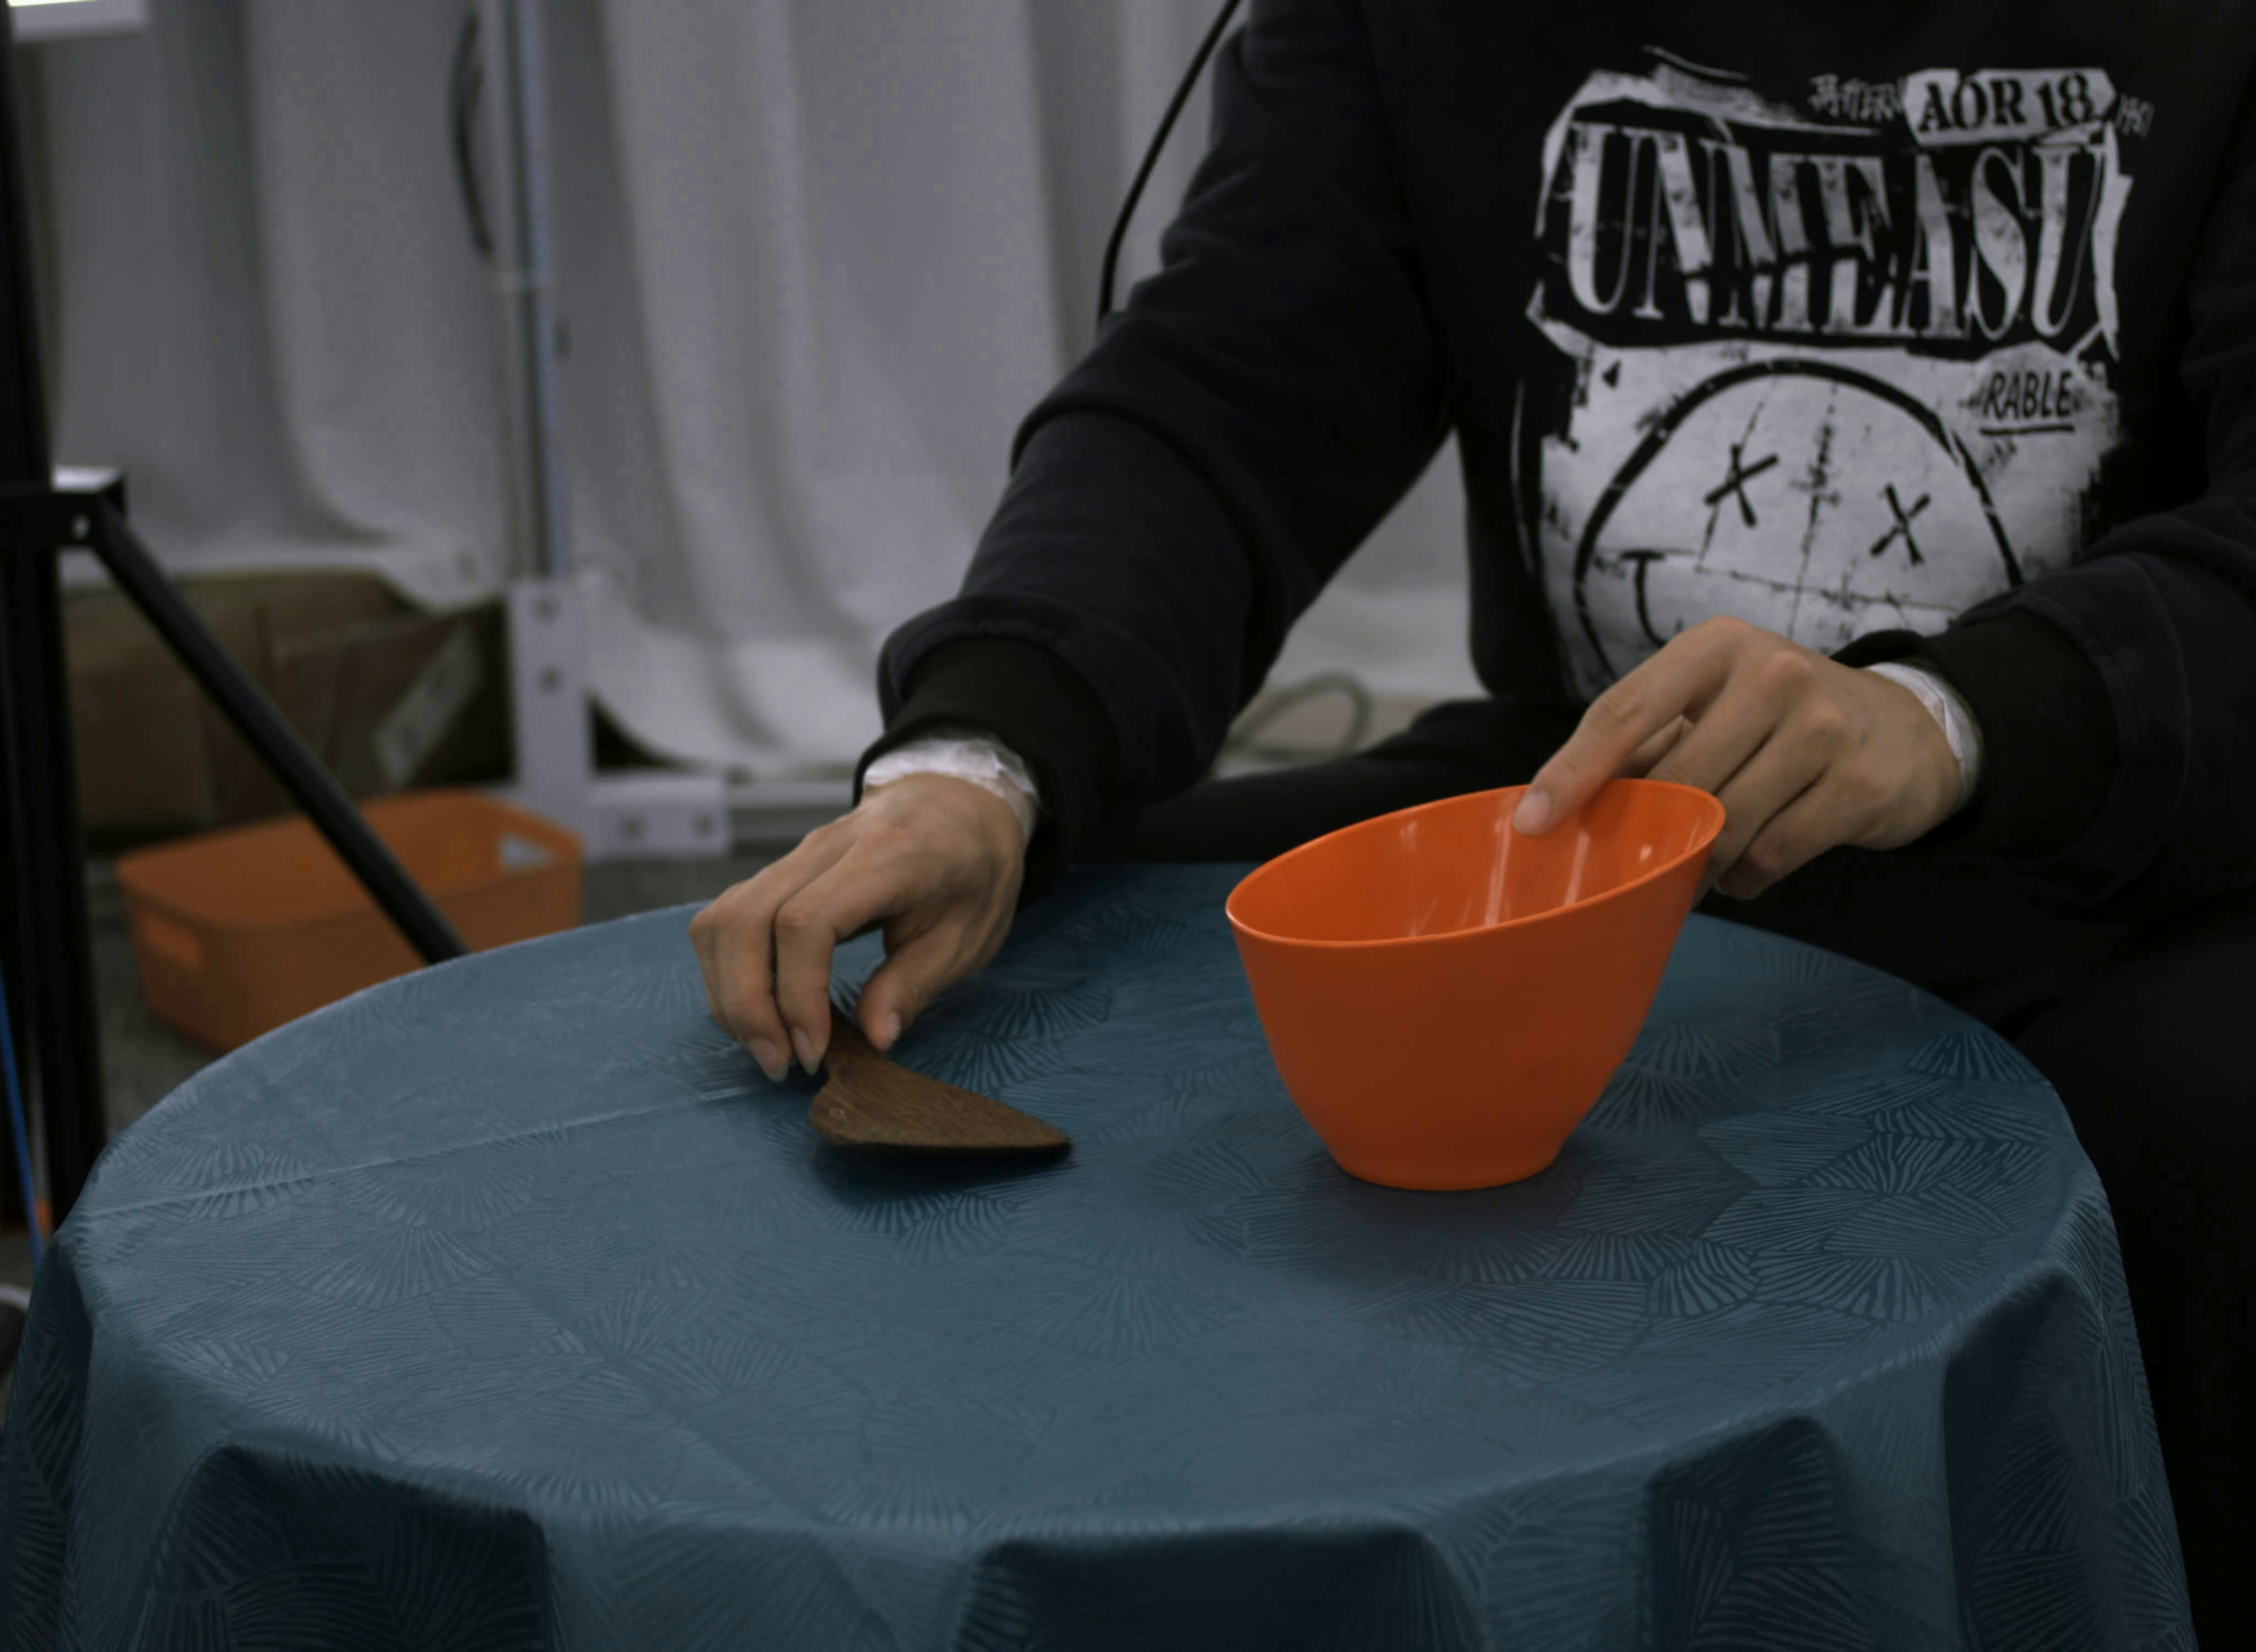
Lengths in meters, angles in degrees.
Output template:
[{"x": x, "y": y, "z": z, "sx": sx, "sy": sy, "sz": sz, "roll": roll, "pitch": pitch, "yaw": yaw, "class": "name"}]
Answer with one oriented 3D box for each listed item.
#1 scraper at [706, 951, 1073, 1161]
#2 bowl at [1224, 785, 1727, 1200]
[{"x": -0.087, "y": 0.072, "z": 1.662, "sx": 0.074, "sy": 0.011, "sz": 0.215, "roll": 1, "pitch": 15, "yaw": -23, "class": "scraper"}, {"x": 0.102, "y": 0.051, "z": 1.560, "sx": 0.147, "sy": 0.104, "sz": 0.149, "roll": -3, "pitch": 15, "yaw": -1, "class": "bowl"}]
